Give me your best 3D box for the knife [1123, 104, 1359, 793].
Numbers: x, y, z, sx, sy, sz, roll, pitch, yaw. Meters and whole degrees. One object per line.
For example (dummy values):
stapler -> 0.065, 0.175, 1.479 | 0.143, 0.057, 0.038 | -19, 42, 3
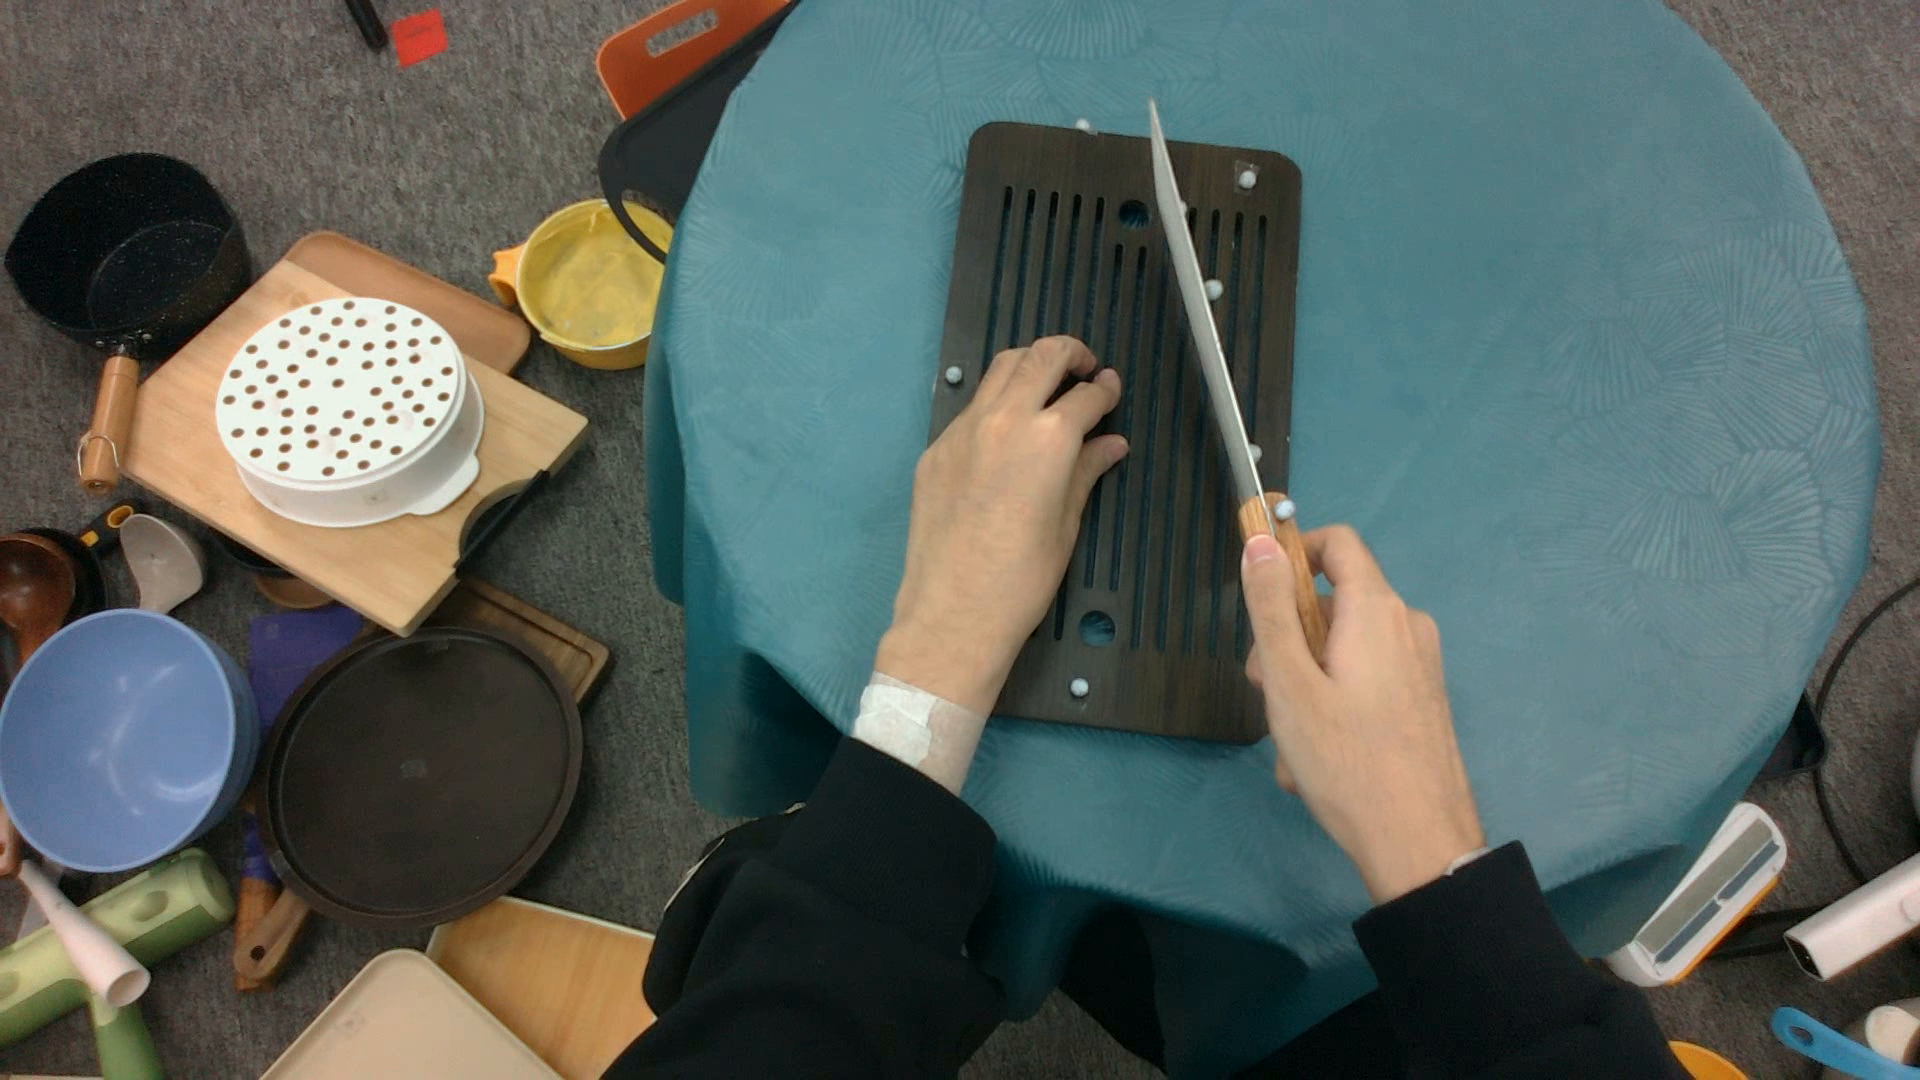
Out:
knife -> 0.111, -0.040, 0.587 | 0.021, 0.093, 0.306 | -15, 72, 5

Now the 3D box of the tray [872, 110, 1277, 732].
tray -> 0.060, -0.066, 0.654 | 0.170, 0.018, 0.307 | 7, 70, 0
